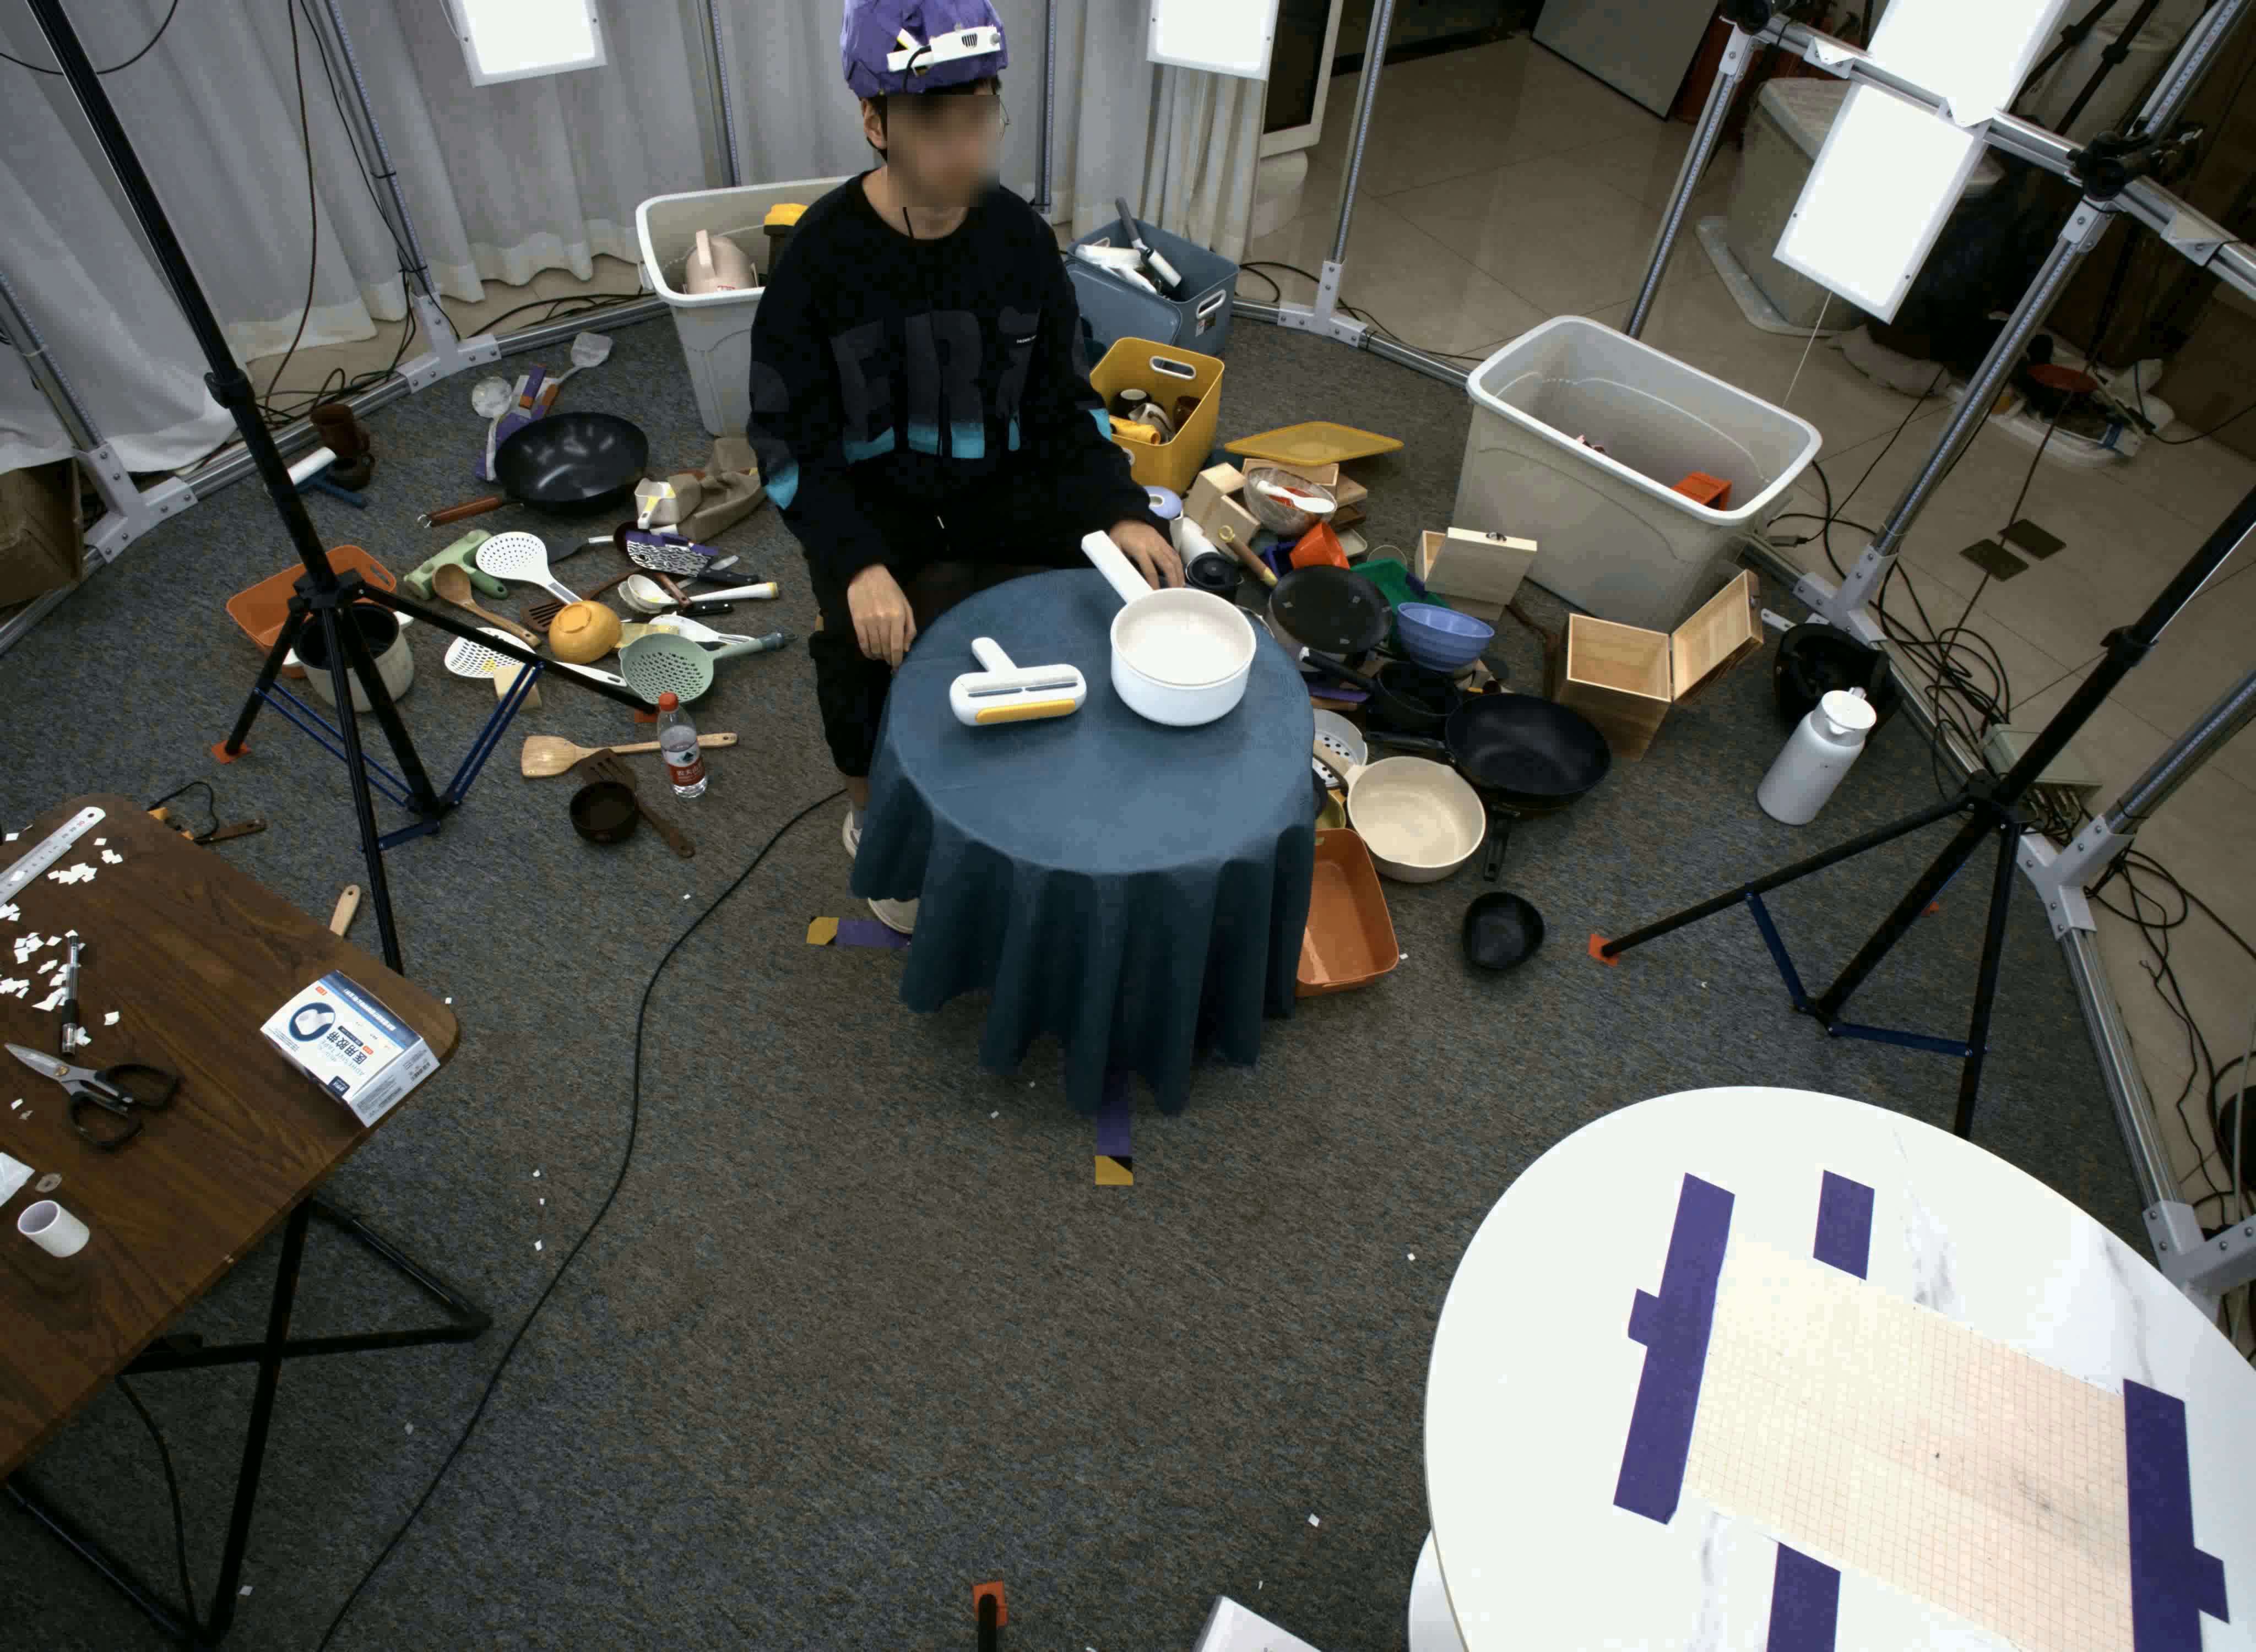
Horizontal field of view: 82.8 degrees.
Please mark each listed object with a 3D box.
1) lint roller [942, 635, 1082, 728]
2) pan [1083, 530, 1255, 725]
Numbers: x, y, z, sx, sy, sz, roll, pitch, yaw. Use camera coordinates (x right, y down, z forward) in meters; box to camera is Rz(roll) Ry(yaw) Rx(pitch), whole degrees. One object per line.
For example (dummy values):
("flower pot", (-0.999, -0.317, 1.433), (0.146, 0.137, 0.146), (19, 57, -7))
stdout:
("lint roller", (-0.176, -0.216, 1.801), (0.192, 0.072, 0.197), (-9, 49, -18))
("pan", (0.035, -0.286, 1.852), (0.202, 0.099, 0.362), (-22, 54, -21))
